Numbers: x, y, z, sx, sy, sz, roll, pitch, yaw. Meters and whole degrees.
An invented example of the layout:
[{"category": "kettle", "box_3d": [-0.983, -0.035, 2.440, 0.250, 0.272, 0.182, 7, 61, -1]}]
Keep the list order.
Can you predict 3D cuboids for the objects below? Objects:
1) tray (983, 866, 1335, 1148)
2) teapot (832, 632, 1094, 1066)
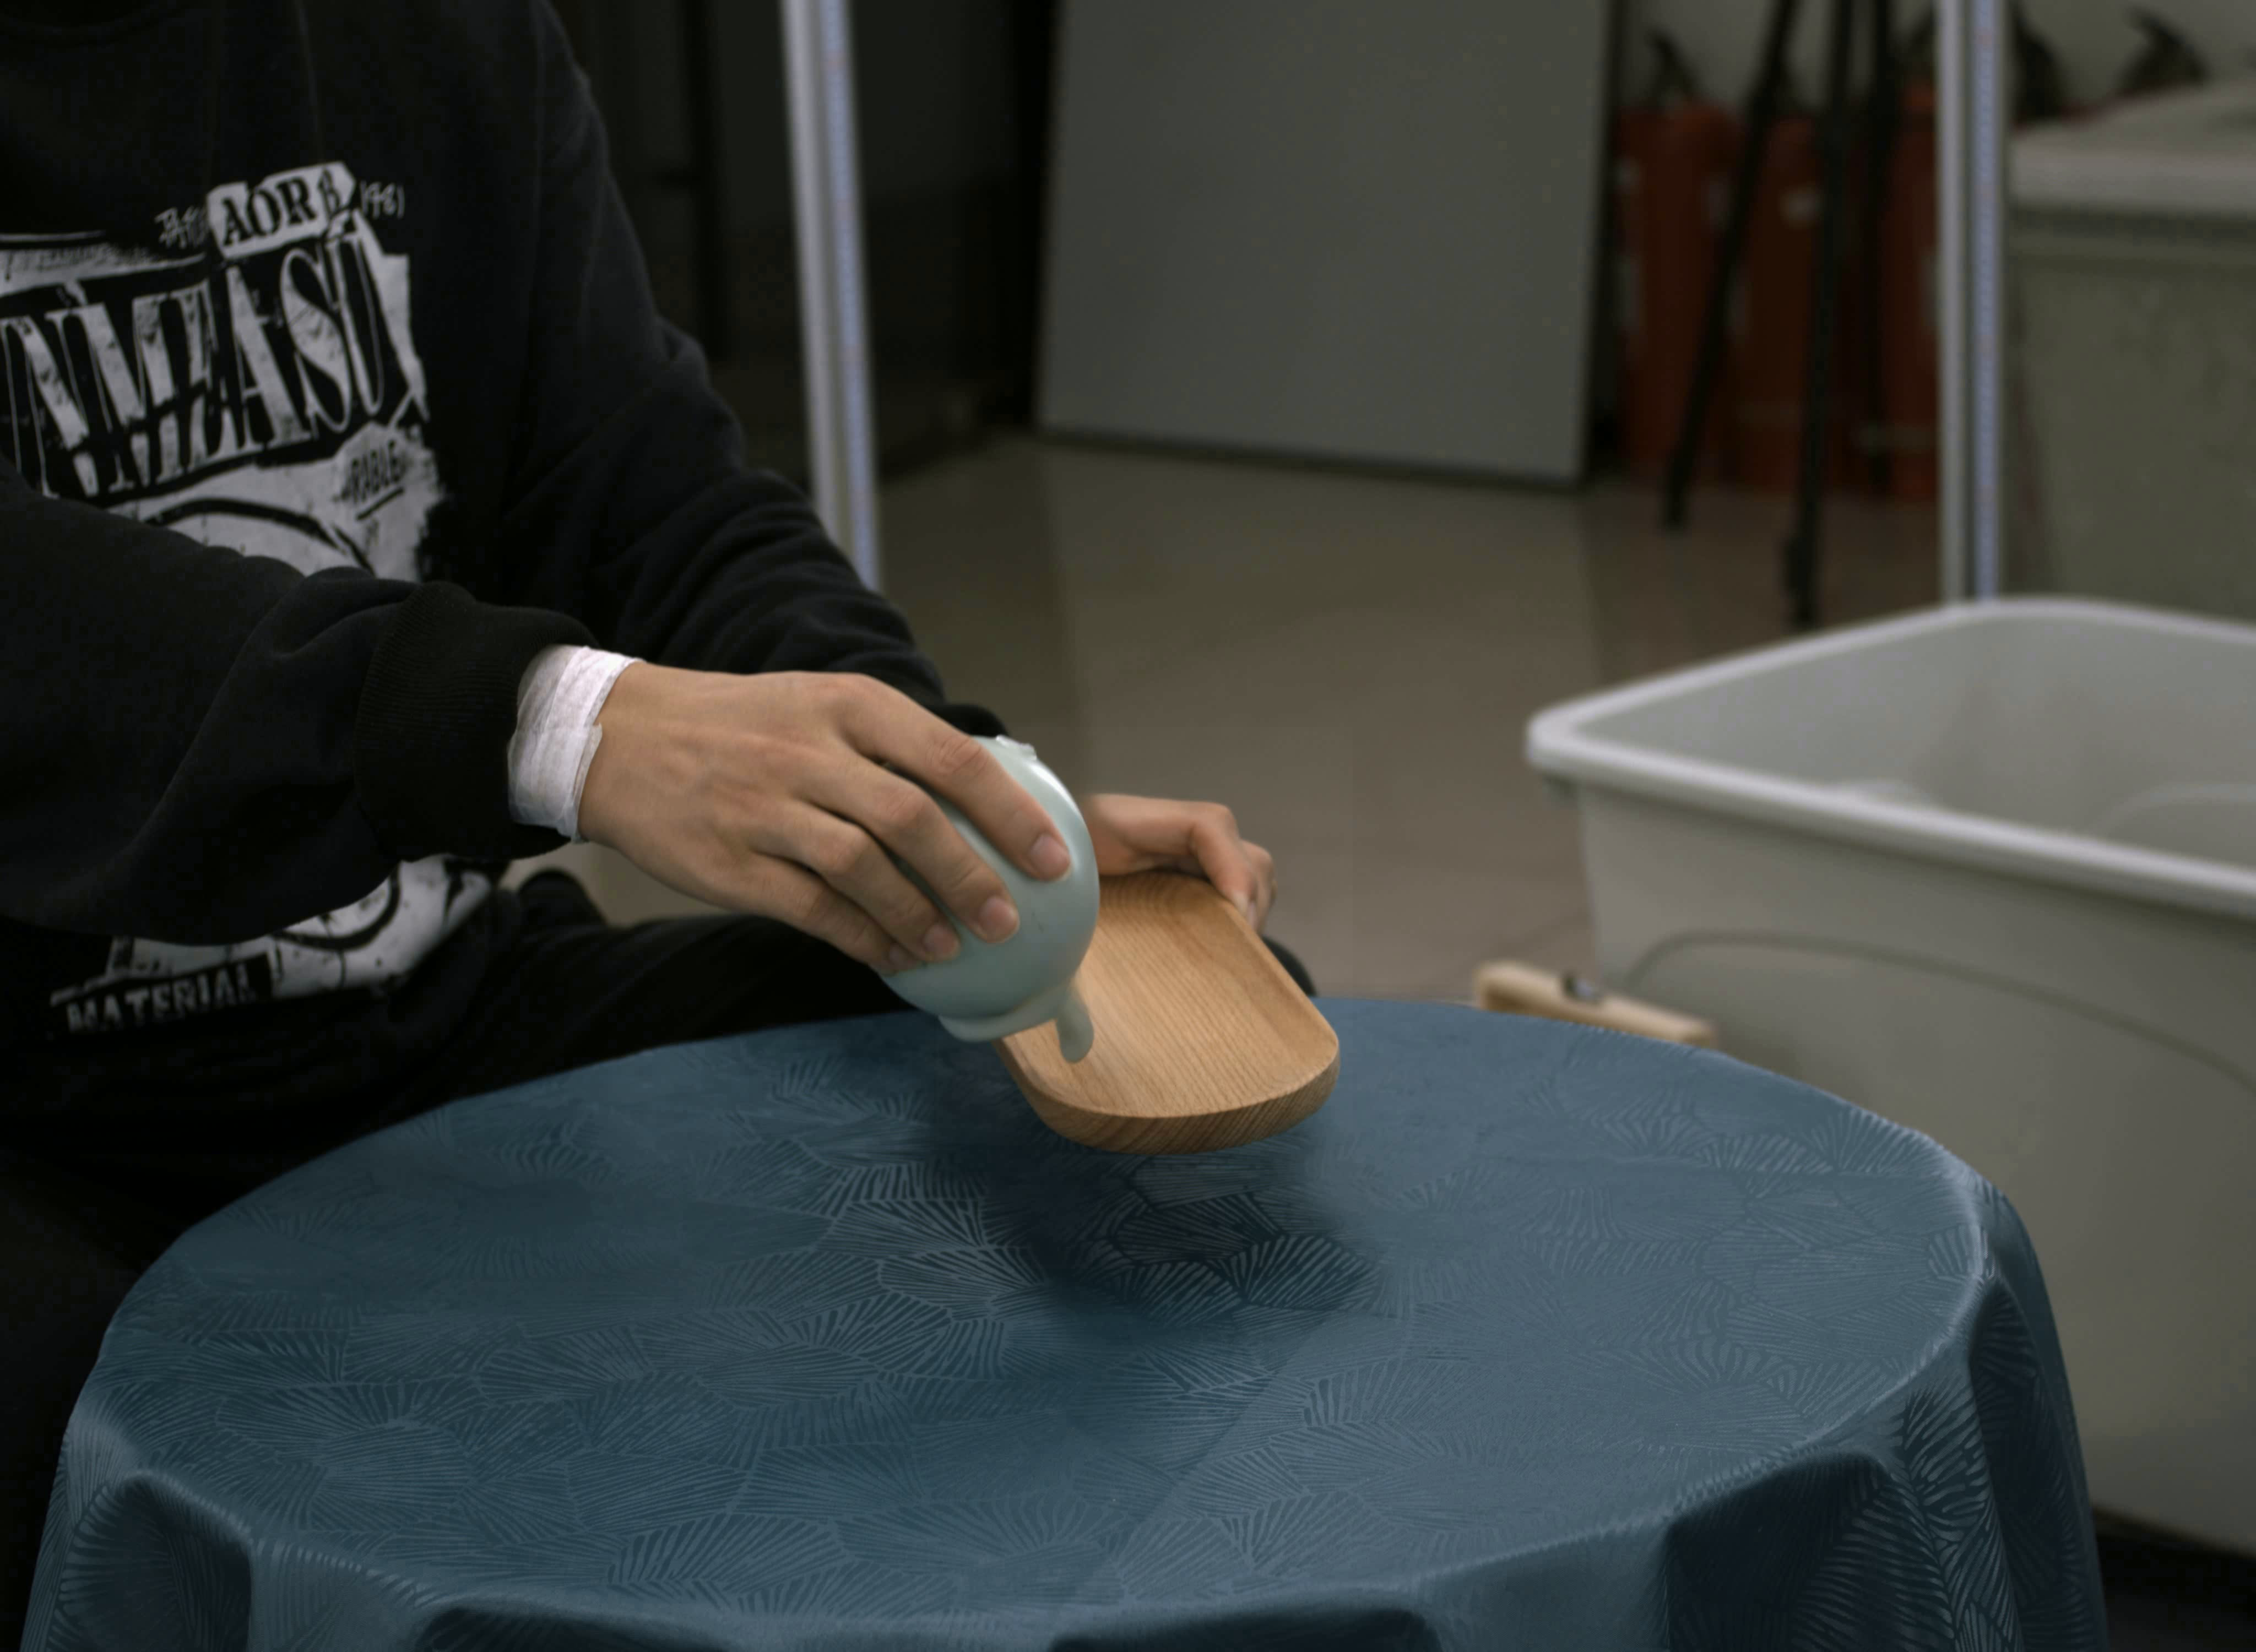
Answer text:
[{"category": "tray", "box_3d": [0.000, 0.057, 1.761, 0.100, 0.020, 0.233, -8, 18, -12]}, {"category": "teapot", "box_3d": [-0.050, 0.015, 1.655, 0.073, 0.145, 0.089, -15, 20, -27]}]
